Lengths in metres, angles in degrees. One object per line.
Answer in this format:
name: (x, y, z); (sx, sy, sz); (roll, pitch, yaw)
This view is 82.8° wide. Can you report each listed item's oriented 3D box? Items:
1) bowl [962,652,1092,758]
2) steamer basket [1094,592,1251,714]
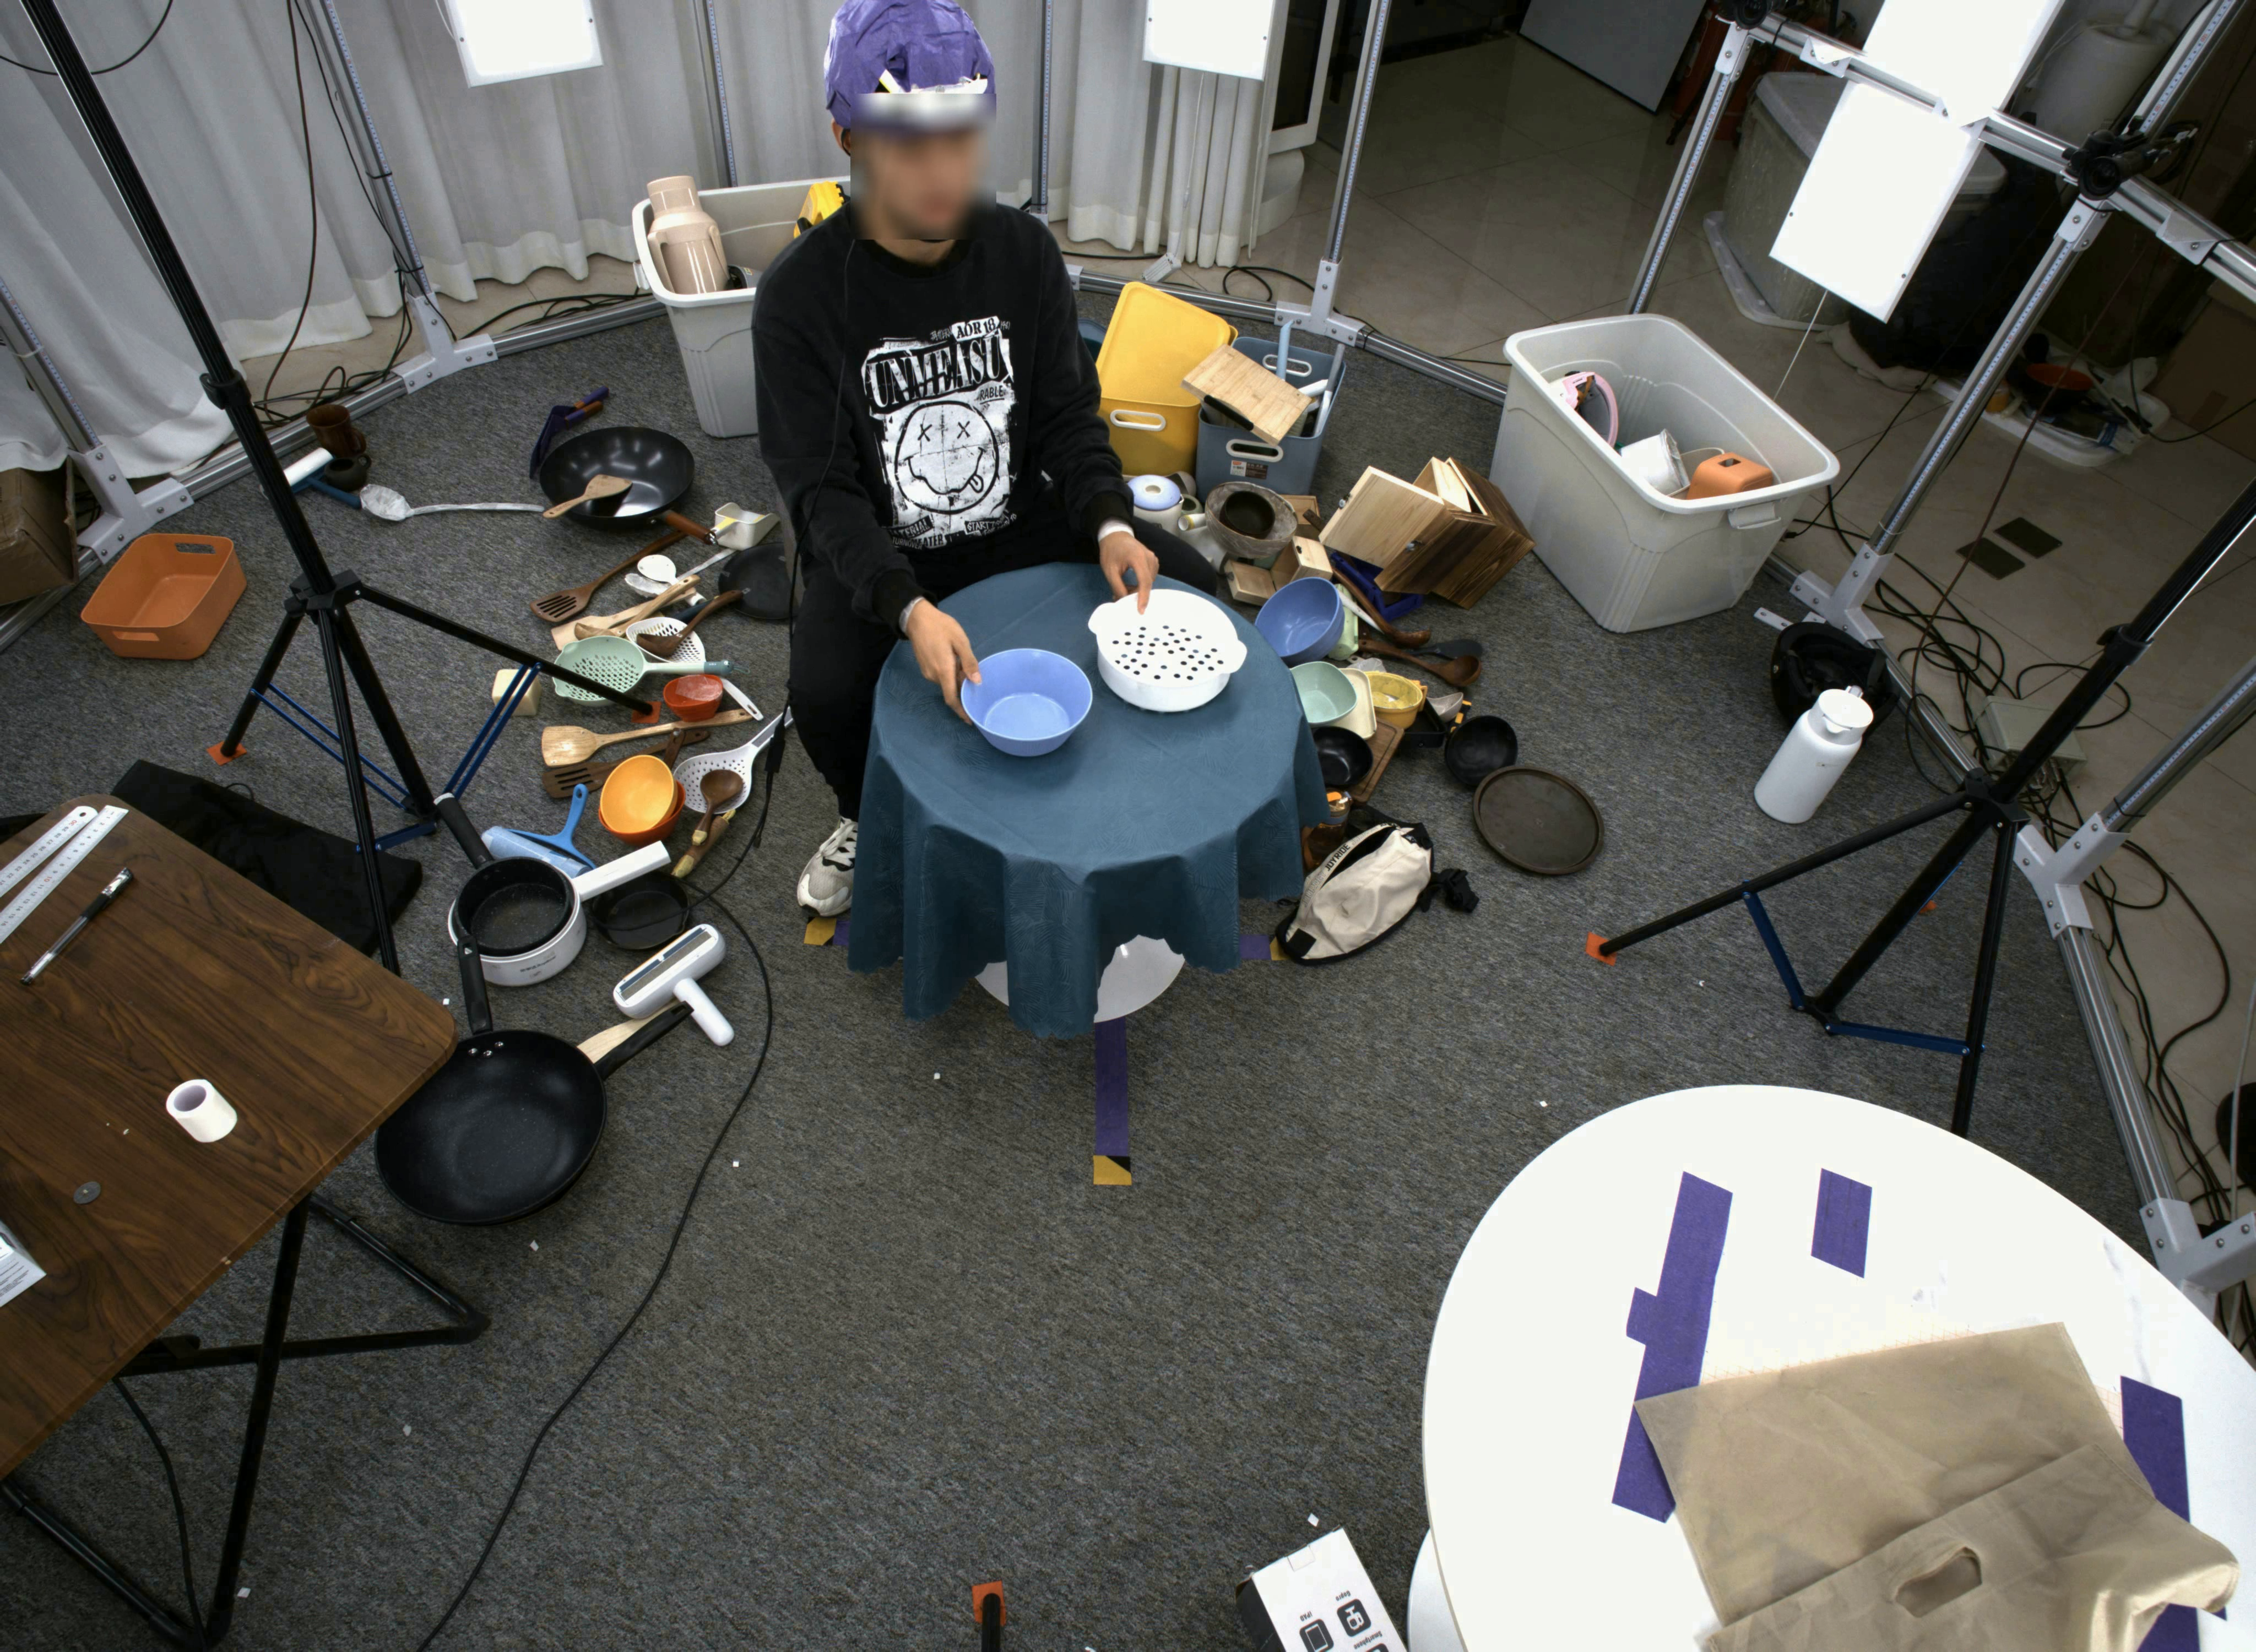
bowl: (-0.139, -0.158, 1.766); (0.176, 0.068, 0.180); (2, 48, -3)
steamer basket: (0.061, -0.250, 1.861); (0.231, 0.067, 0.206); (19, 50, 10)
